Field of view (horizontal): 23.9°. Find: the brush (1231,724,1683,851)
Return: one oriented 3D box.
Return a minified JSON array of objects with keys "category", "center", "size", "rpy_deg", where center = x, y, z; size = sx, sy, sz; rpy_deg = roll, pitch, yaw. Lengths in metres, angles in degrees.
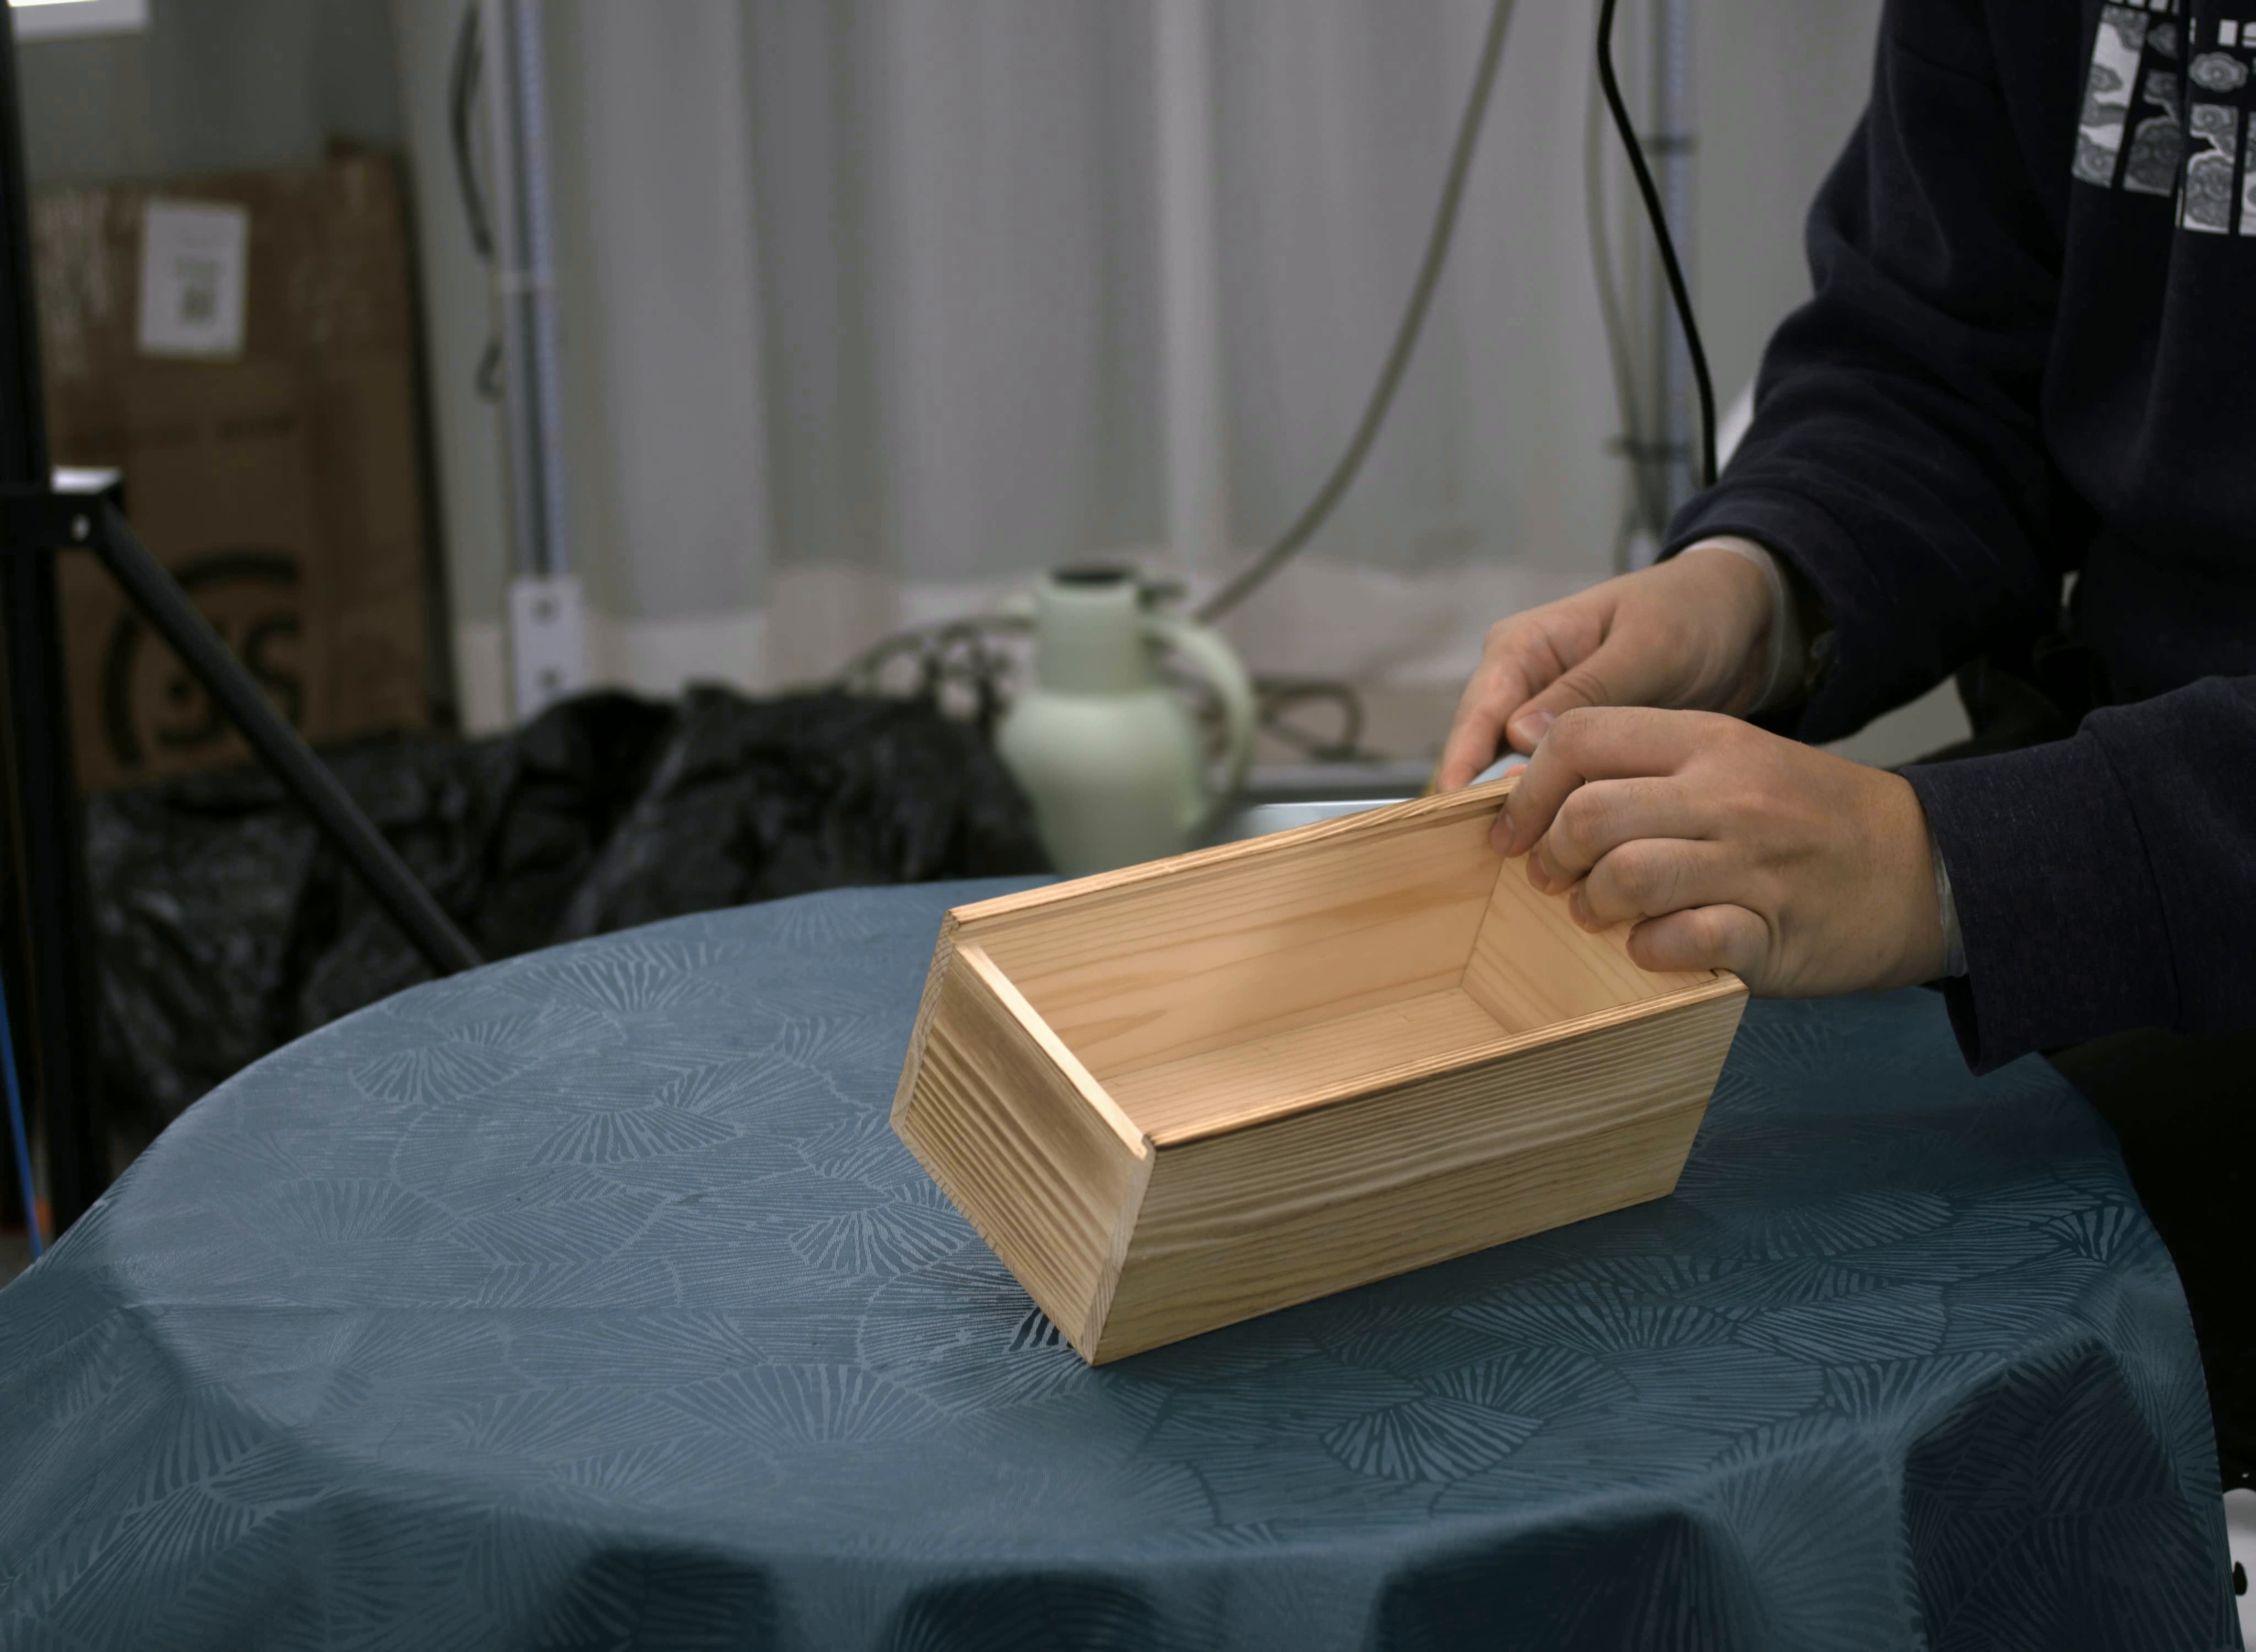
[{"category":"brush","center":[0.112,-0.001,1.629],"size":[0.050,0.038,0.223],"rpy_deg":[39,29,24]}]

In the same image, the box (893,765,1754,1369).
[{"category":"box","center":[0.055,0.064,1.489],"size":[0.206,0.080,0.110],"rpy_deg":[-14,44,-33]}]
